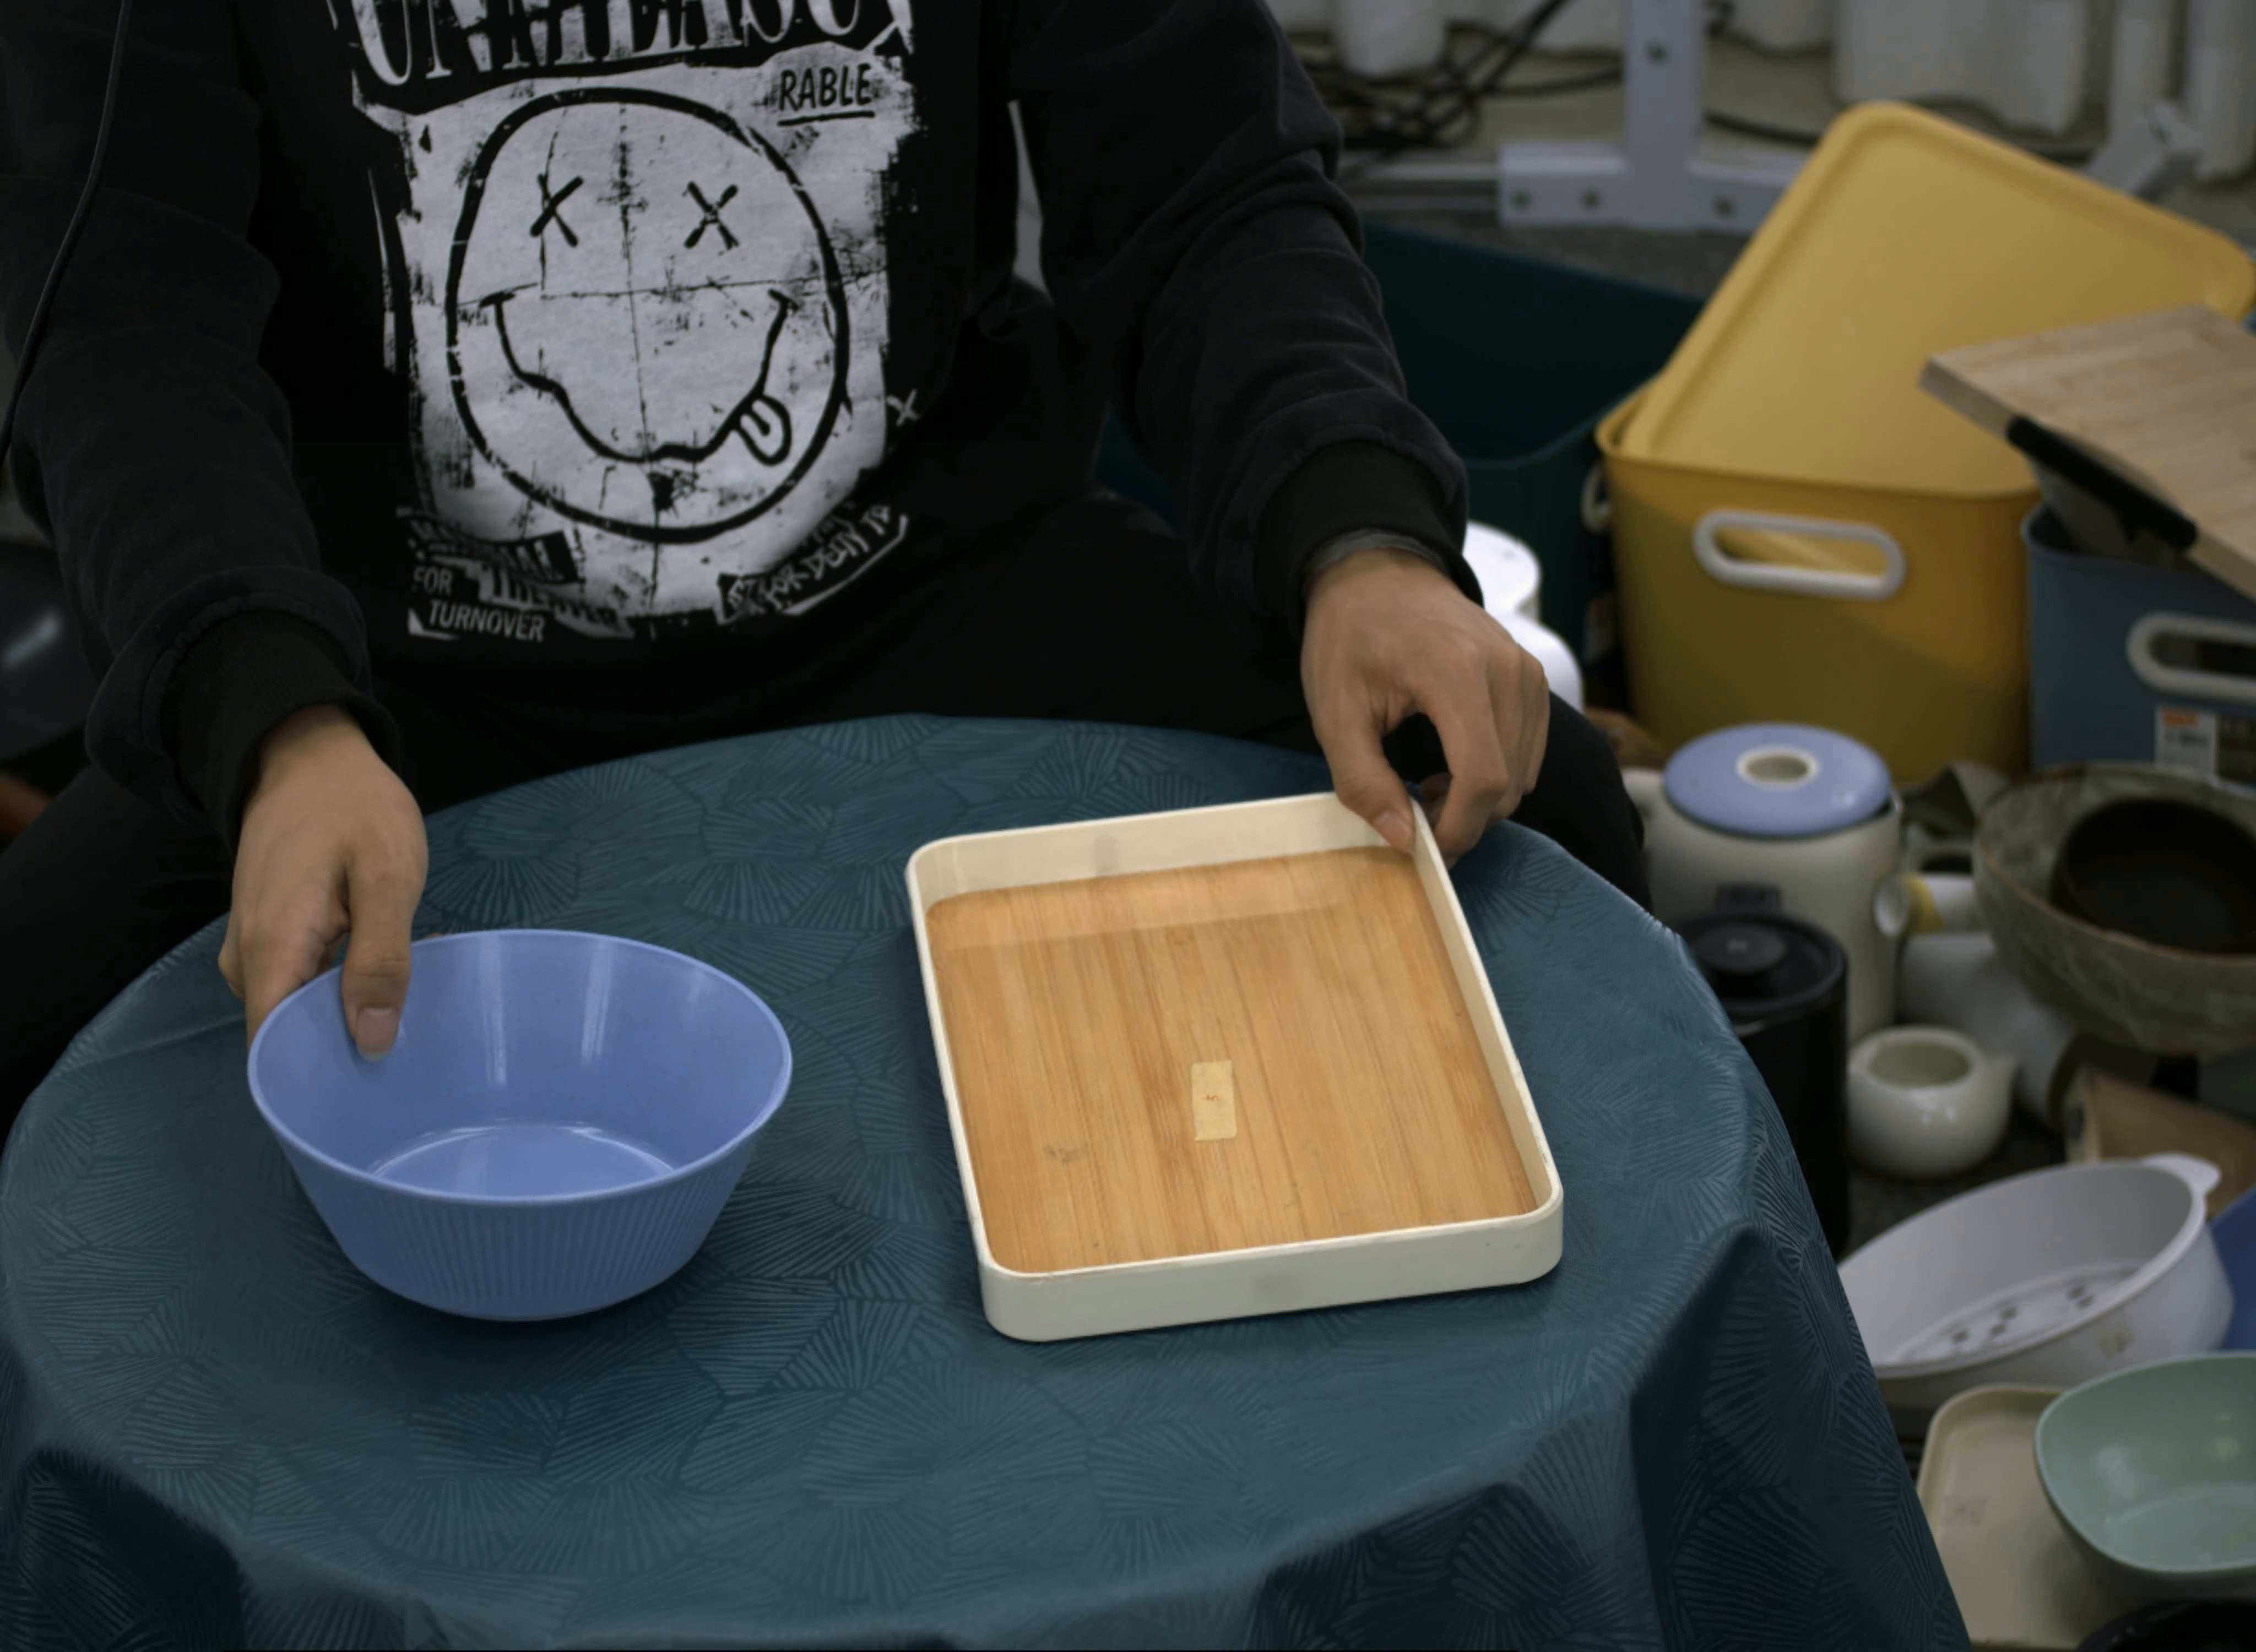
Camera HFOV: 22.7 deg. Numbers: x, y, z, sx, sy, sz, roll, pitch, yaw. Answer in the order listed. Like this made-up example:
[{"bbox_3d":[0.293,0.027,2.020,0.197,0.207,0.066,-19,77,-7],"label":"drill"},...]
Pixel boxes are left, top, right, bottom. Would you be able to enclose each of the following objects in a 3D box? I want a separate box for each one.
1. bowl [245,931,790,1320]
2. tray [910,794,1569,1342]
[{"bbox_3d":[-0.198,0.104,1.827,0.175,0.069,0.179,3,27,-1],"label":"bowl"},{"bbox_3d":[0.032,0.077,1.913,0.191,0.027,0.304,-6,28,-5],"label":"tray"}]
